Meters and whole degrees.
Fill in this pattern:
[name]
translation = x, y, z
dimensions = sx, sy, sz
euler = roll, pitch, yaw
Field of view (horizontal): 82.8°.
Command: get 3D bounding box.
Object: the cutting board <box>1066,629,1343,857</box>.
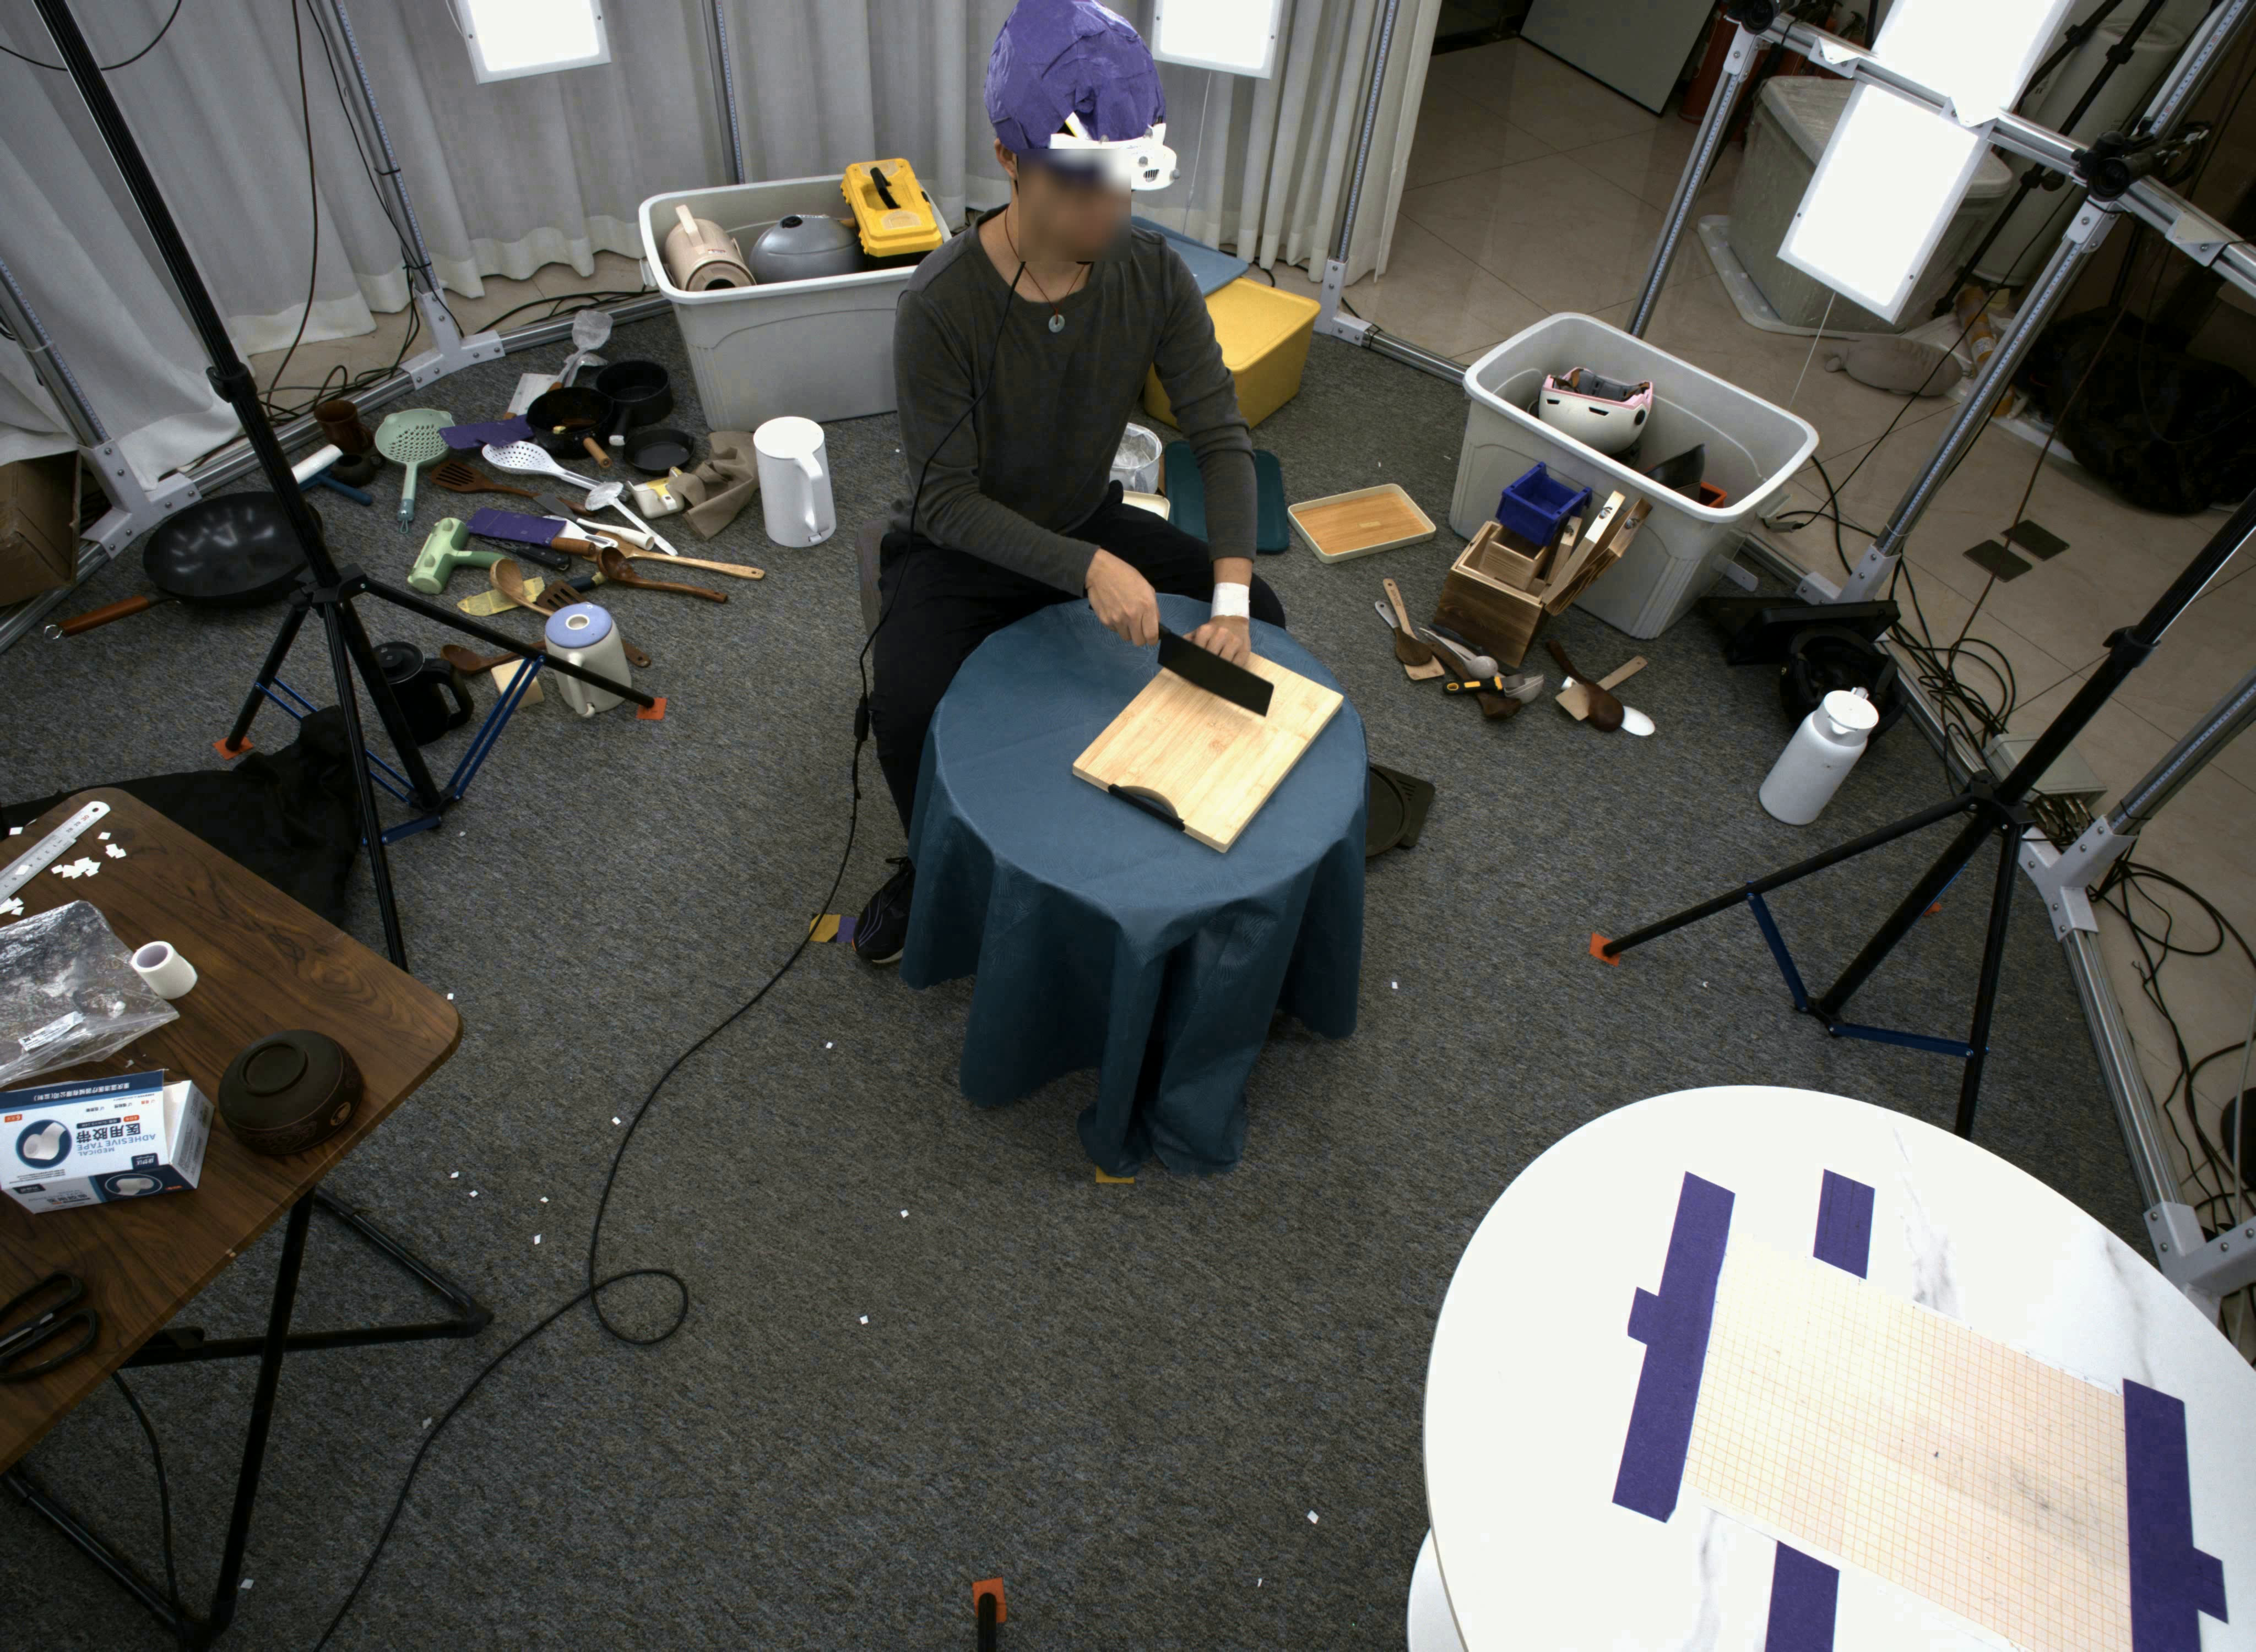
[cutting board]
translation = 0.113, -0.125, 1.773
dimensions = 0.253, 0.023, 0.354
euler = 27, 52, 19

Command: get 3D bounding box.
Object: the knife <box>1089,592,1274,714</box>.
[knife]
translation = 0.072, -0.246, 1.799
dimensions = 0.305, 0.079, 0.021
euler = 33, 49, 16
